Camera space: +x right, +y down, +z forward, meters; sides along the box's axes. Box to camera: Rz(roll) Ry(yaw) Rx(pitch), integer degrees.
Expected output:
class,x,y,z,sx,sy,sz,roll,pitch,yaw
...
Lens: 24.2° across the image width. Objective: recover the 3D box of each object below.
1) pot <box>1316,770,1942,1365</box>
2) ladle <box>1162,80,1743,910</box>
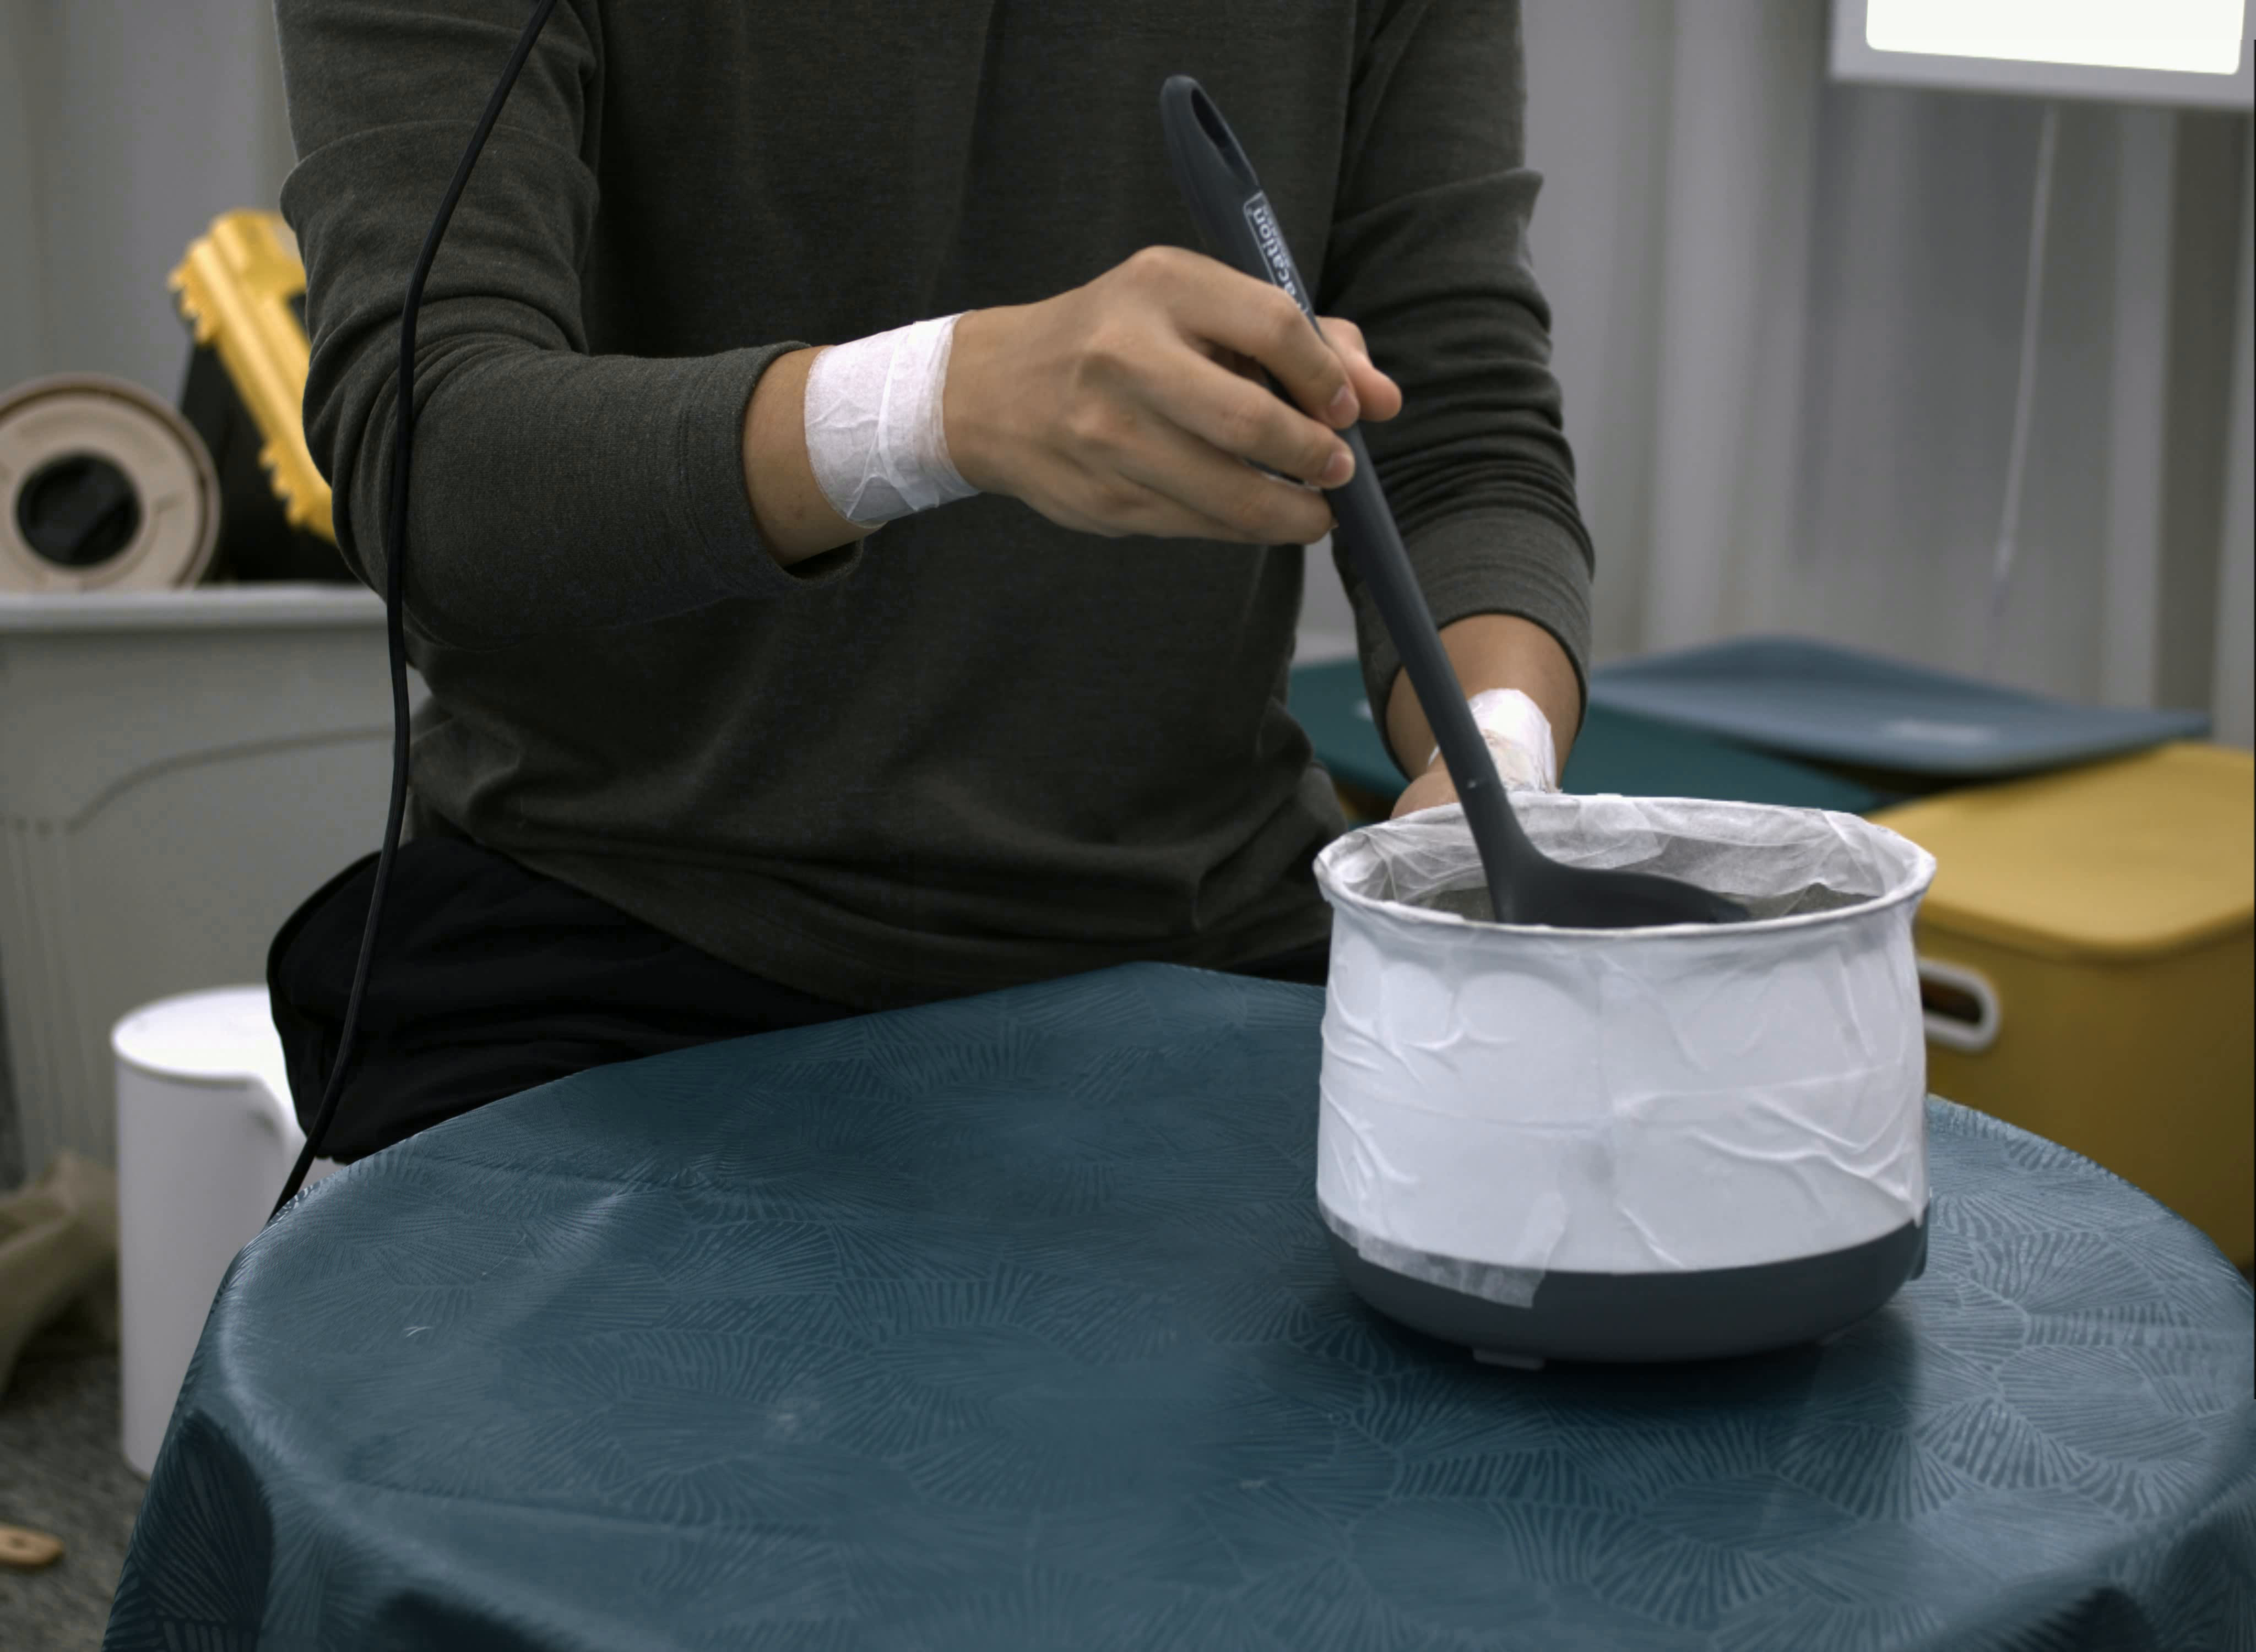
class,x,y,z,sx,sy,sz,roll,pitch,yaw
pot,0.135,0.065,1.535,0.179,0.137,0.231,-3,13,-14
ladle,0.095,-0.074,1.493,0.063,0.316,0.086,-17,13,33
